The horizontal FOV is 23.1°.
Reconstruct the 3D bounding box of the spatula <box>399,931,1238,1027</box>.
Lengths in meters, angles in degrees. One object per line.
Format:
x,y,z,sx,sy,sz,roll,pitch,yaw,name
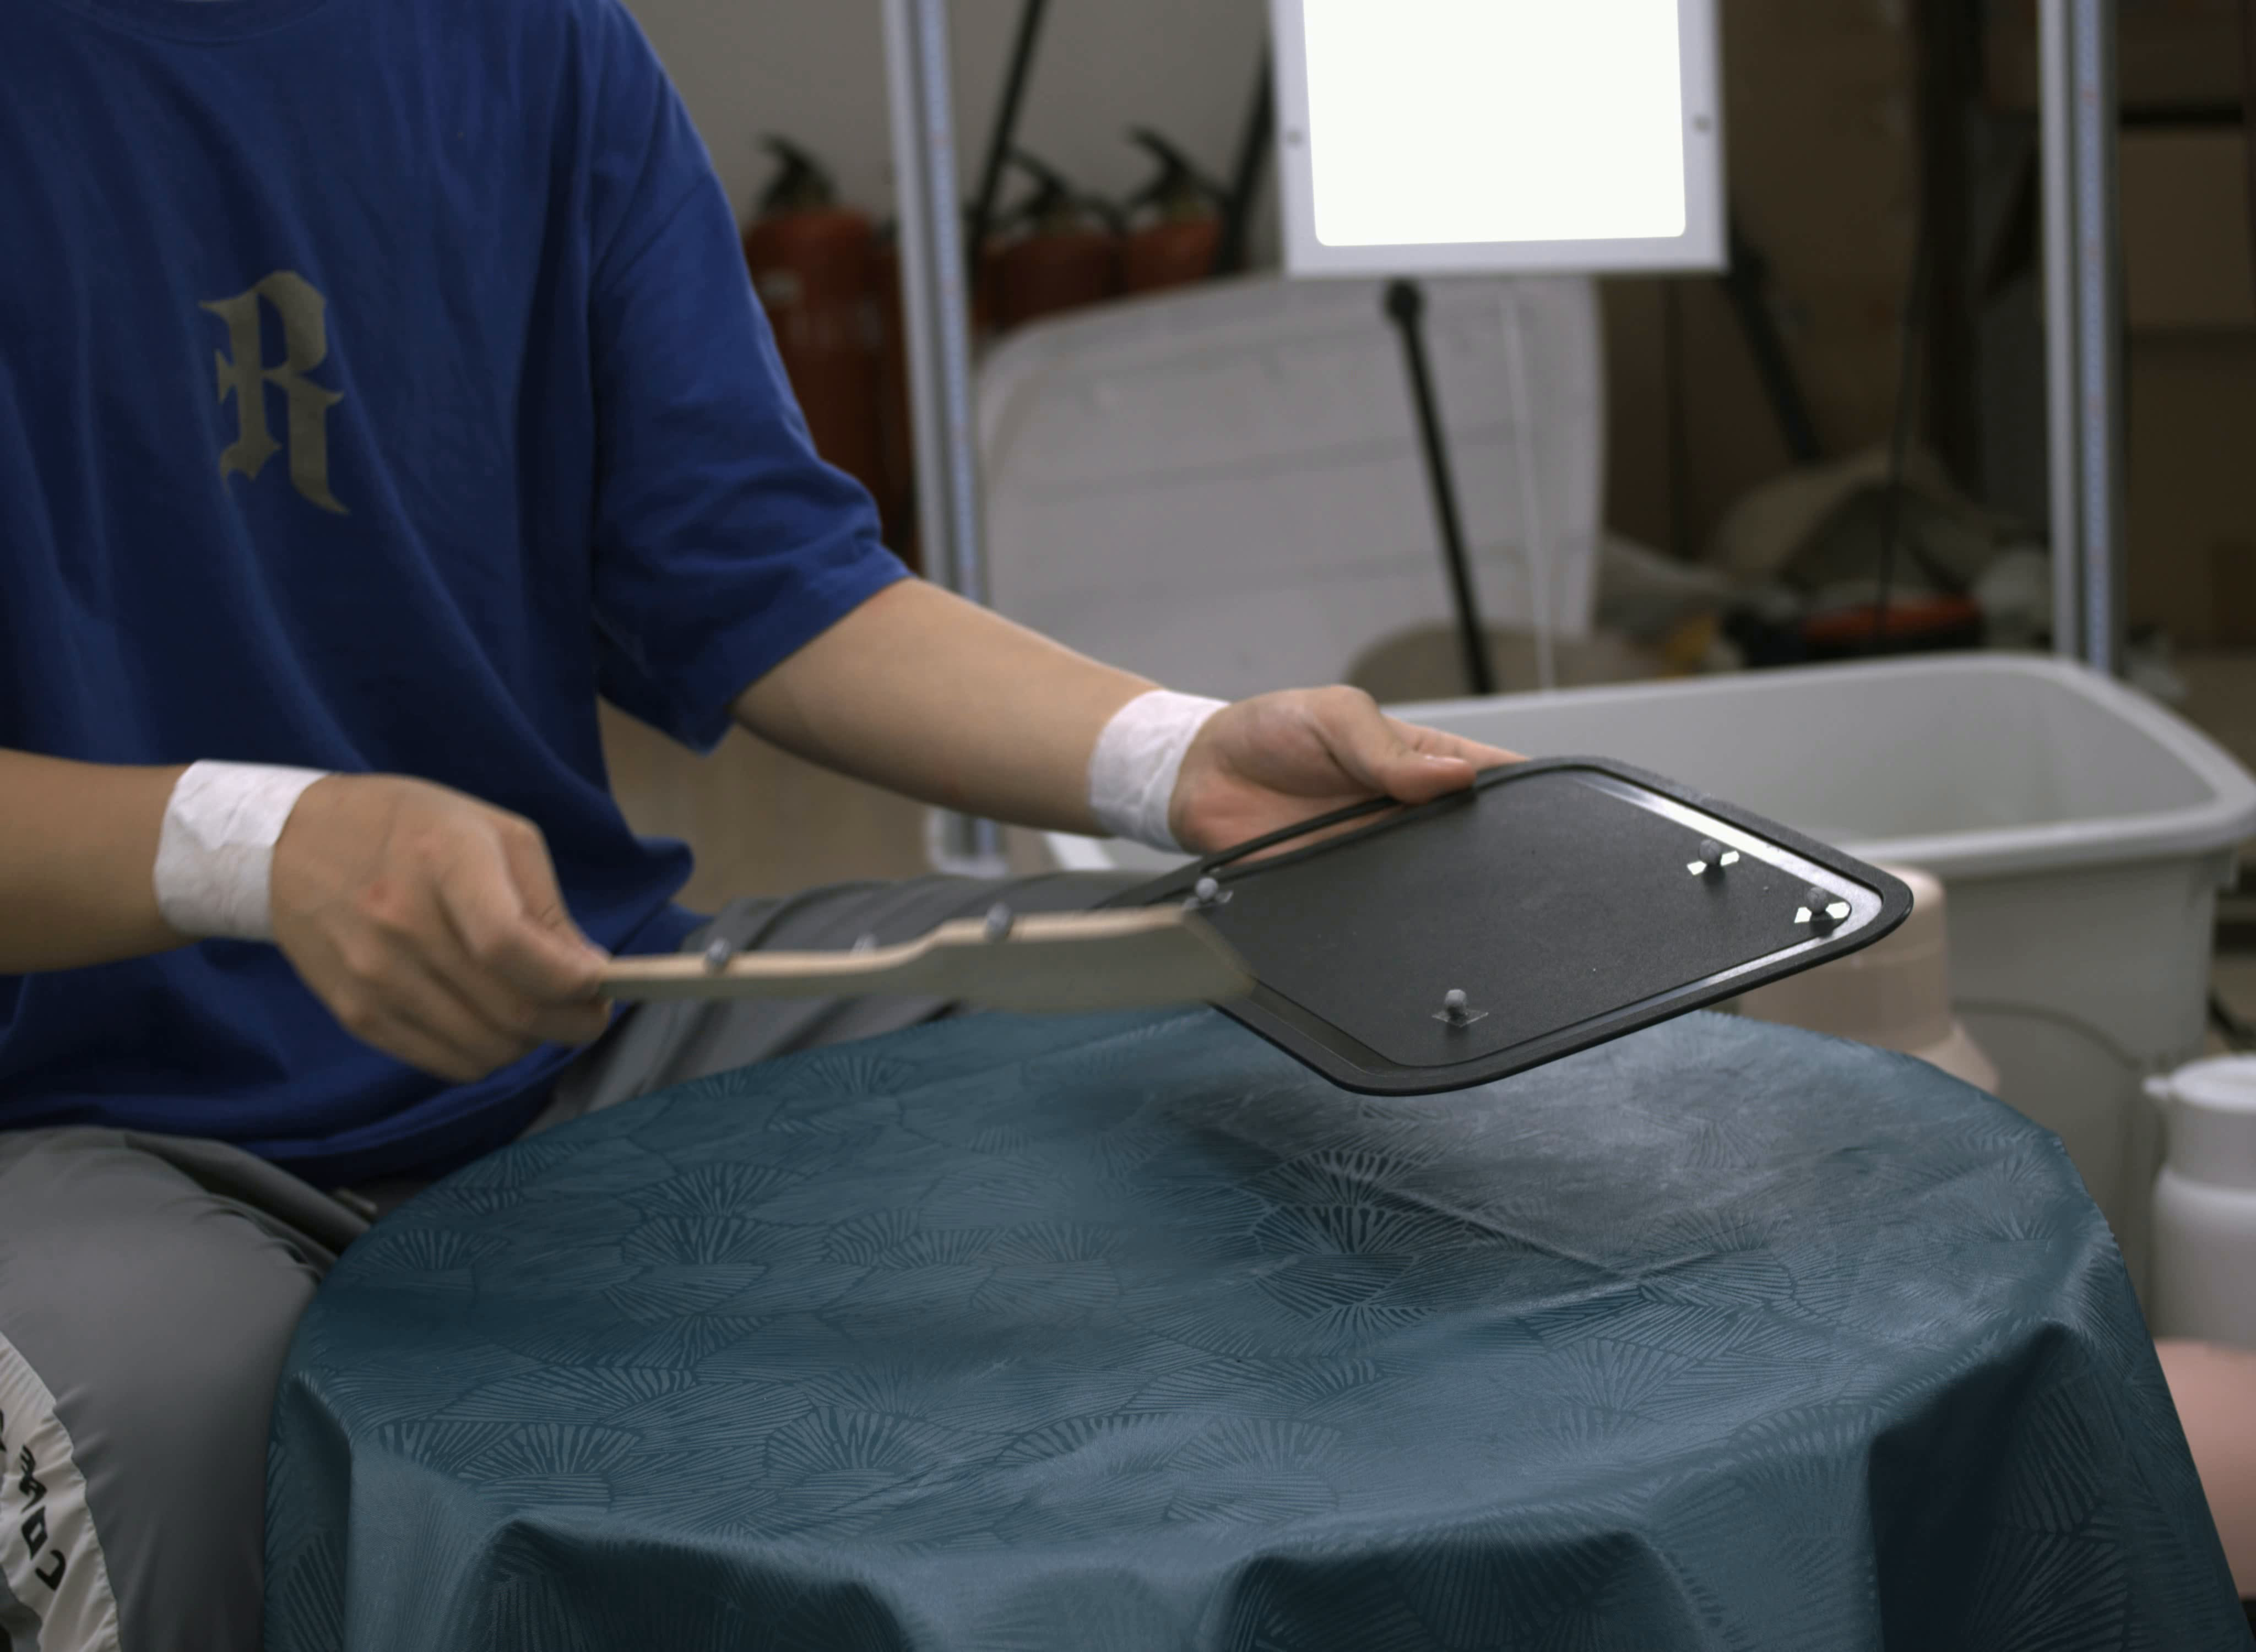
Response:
-0.110,0.051,1.806,0.298,0.010,0.071,-2,-22,25,spatula

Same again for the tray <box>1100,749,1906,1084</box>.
0.119,0.025,1.903,0.208,0.010,0.329,-19,17,-14,tray
